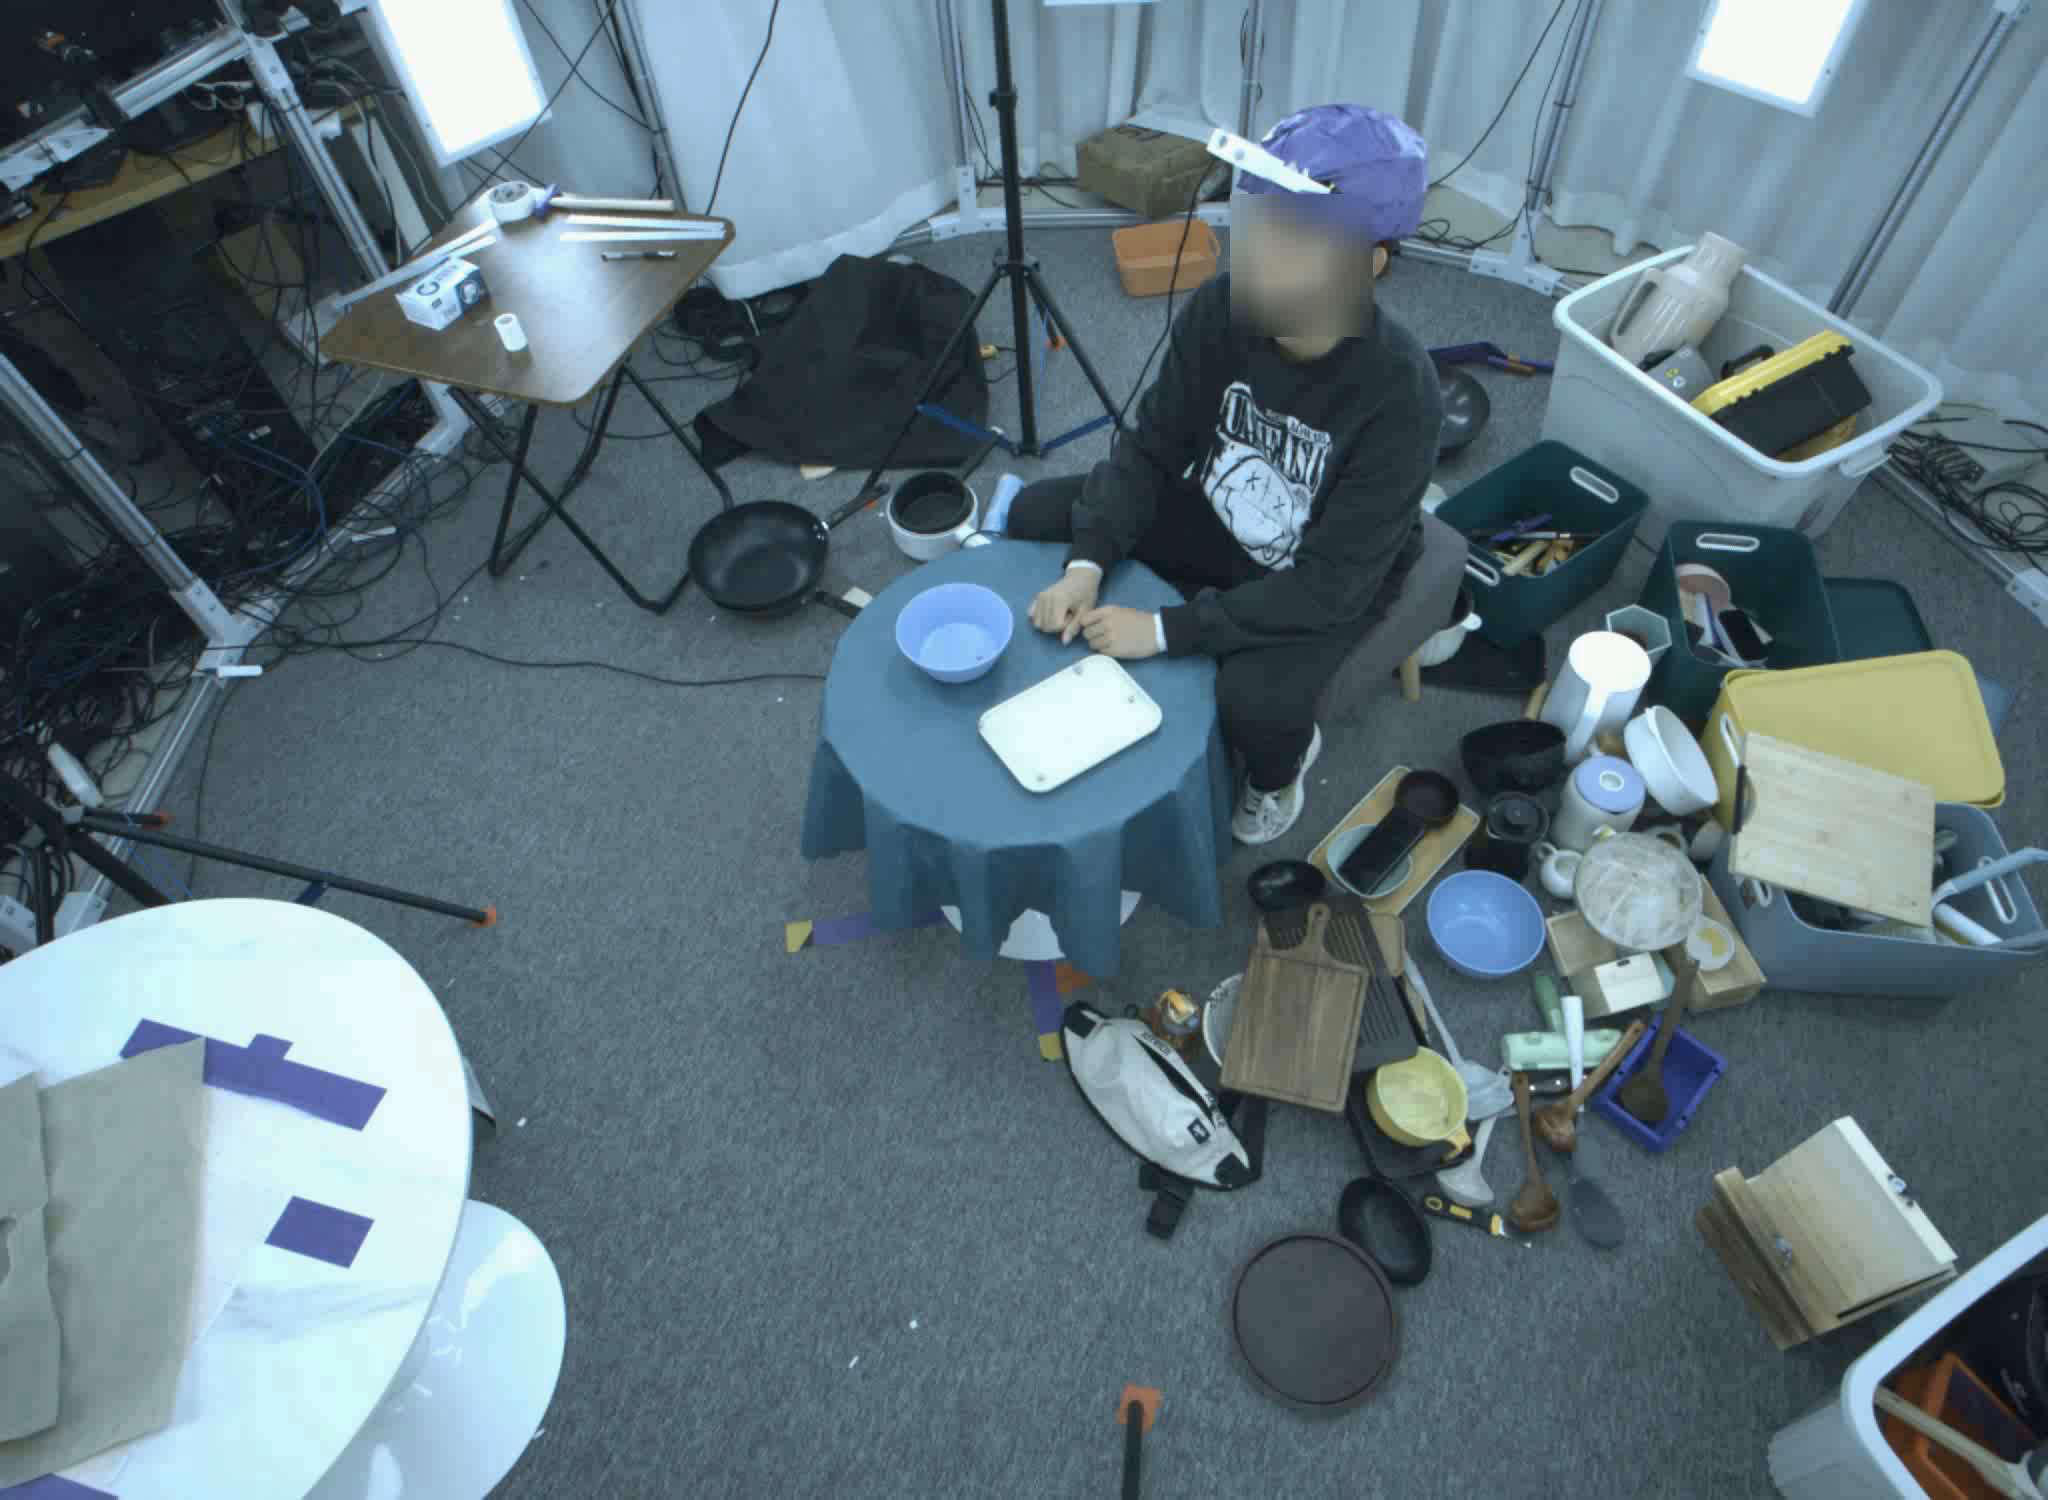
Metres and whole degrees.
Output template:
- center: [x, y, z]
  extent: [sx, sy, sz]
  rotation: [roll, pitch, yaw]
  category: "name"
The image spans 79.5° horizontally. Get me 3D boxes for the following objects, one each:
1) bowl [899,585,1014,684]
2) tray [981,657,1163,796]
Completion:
- center: [-0.100, -0.165, 1.873]
  extent: [0.176, 0.071, 0.174]
  rotation: [-1, 56, 2]
  category: "bowl"
- center: [0.070, -0.035, 1.810]
  extent: [0.241, 0.017, 0.168]
  rotation: [-29, 60, -18]
  category: "tray"
